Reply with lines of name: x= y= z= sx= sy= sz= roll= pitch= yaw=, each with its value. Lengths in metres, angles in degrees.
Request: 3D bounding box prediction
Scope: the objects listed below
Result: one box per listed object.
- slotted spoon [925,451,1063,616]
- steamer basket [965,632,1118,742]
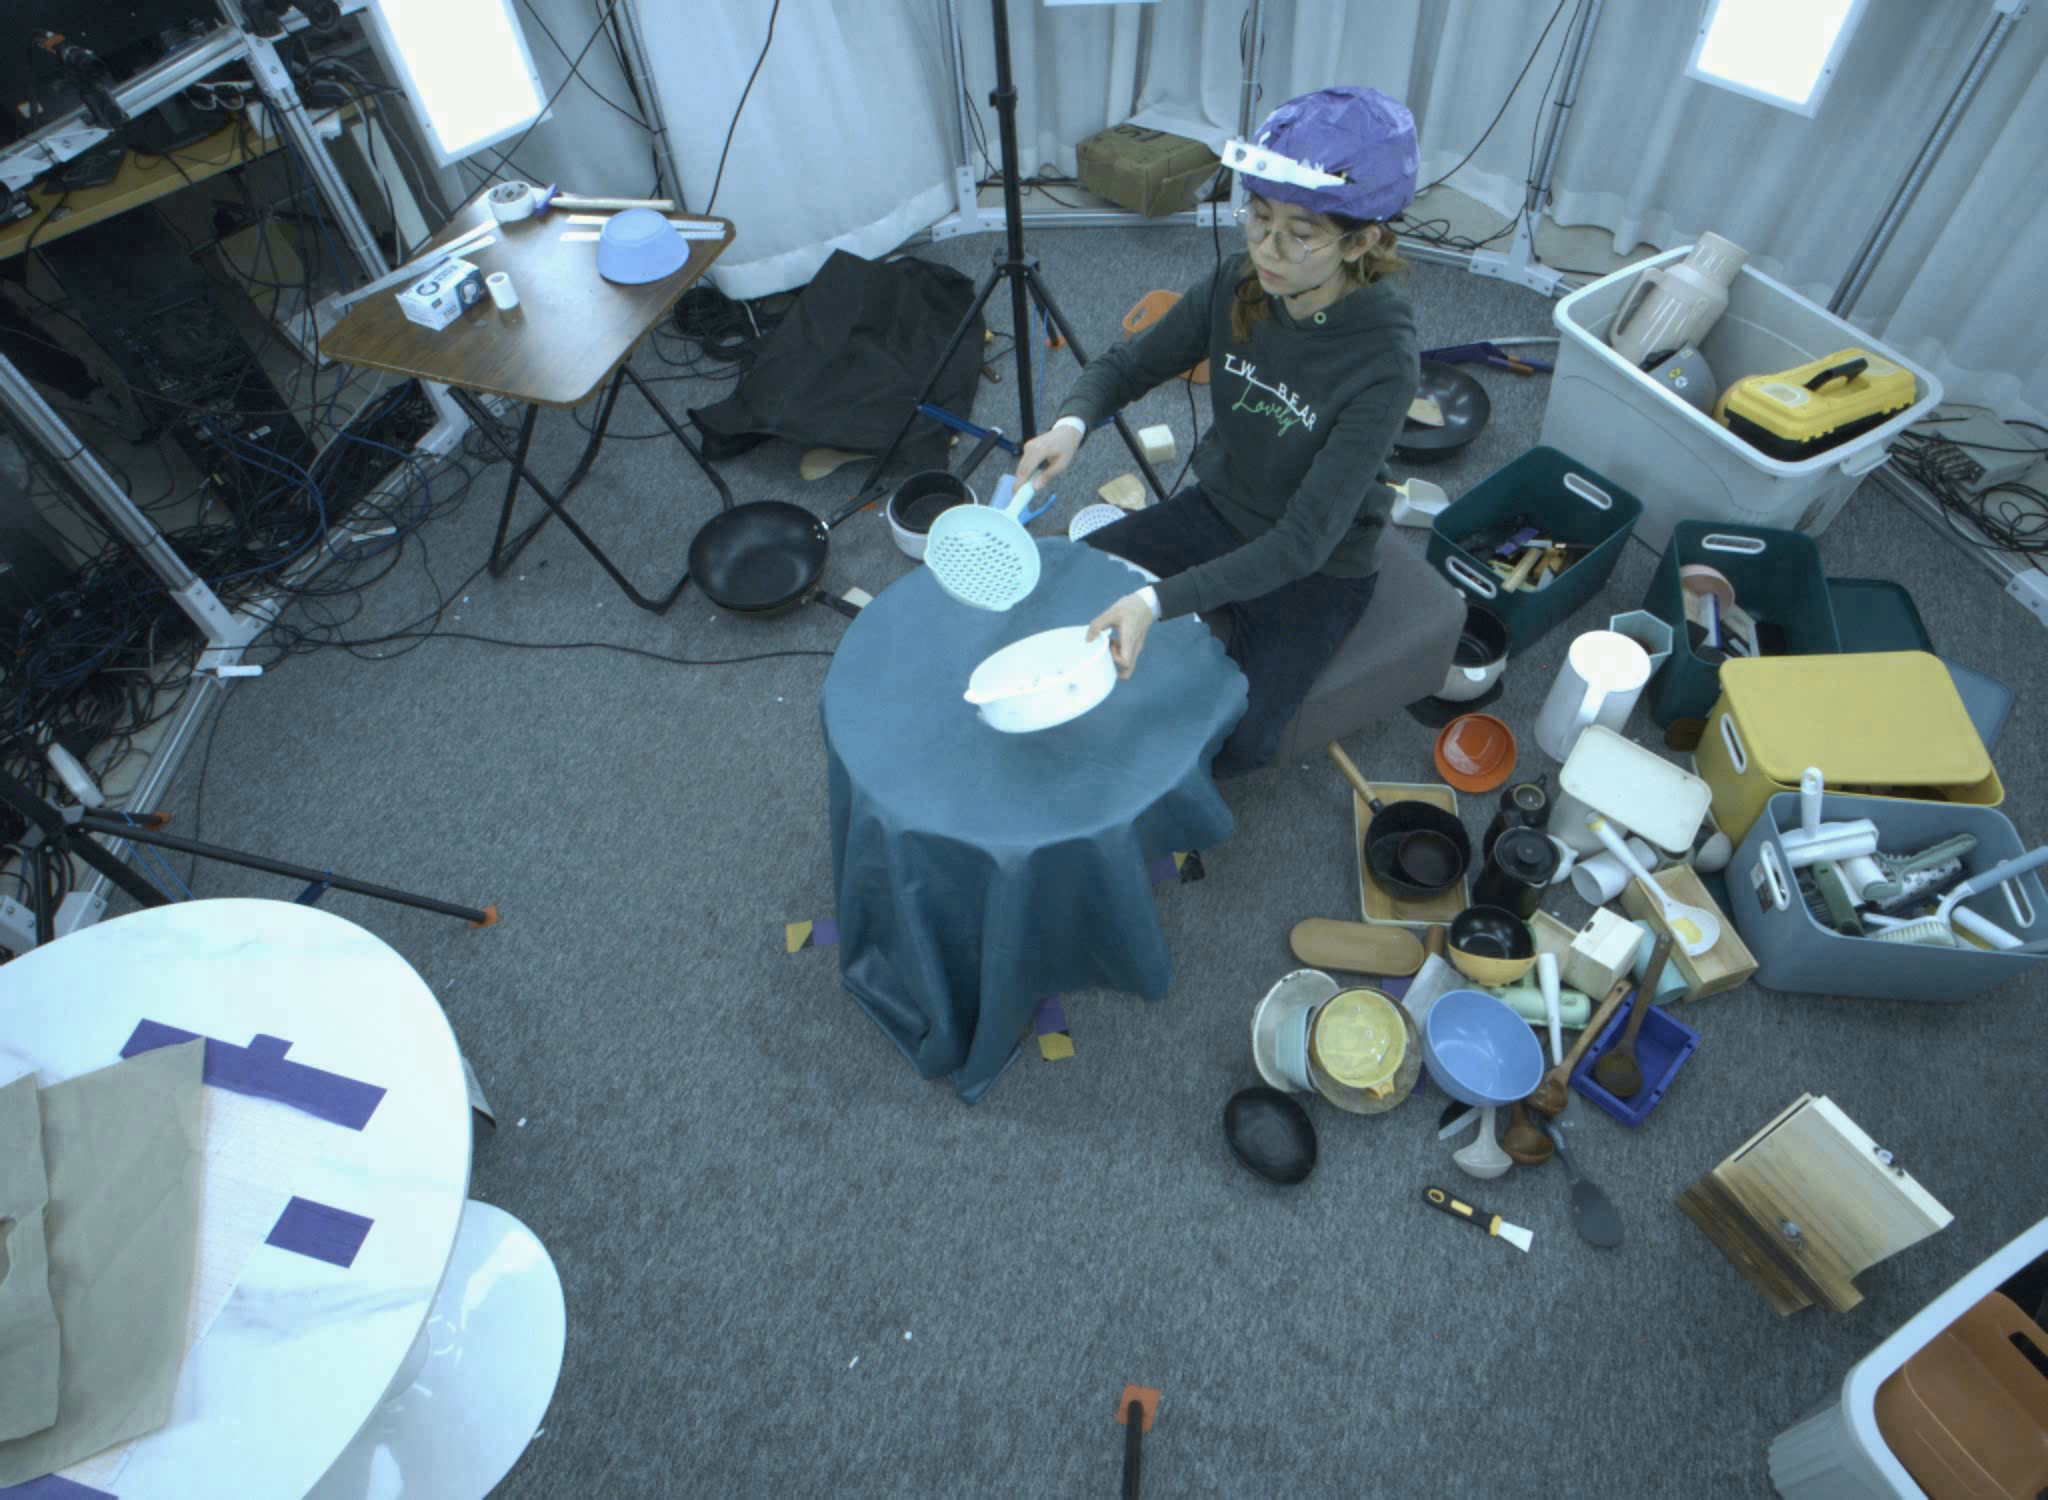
slotted spoon: x=-0.019 y=-0.337 z=1.797 sx=0.170 sy=0.075 sz=0.359 roll=34 pitch=64 yaw=-8
steamer basket: x=0.029 y=-0.085 z=1.696 sx=0.233 sy=0.070 sz=0.197 roll=-31 pitch=29 yaw=-23
